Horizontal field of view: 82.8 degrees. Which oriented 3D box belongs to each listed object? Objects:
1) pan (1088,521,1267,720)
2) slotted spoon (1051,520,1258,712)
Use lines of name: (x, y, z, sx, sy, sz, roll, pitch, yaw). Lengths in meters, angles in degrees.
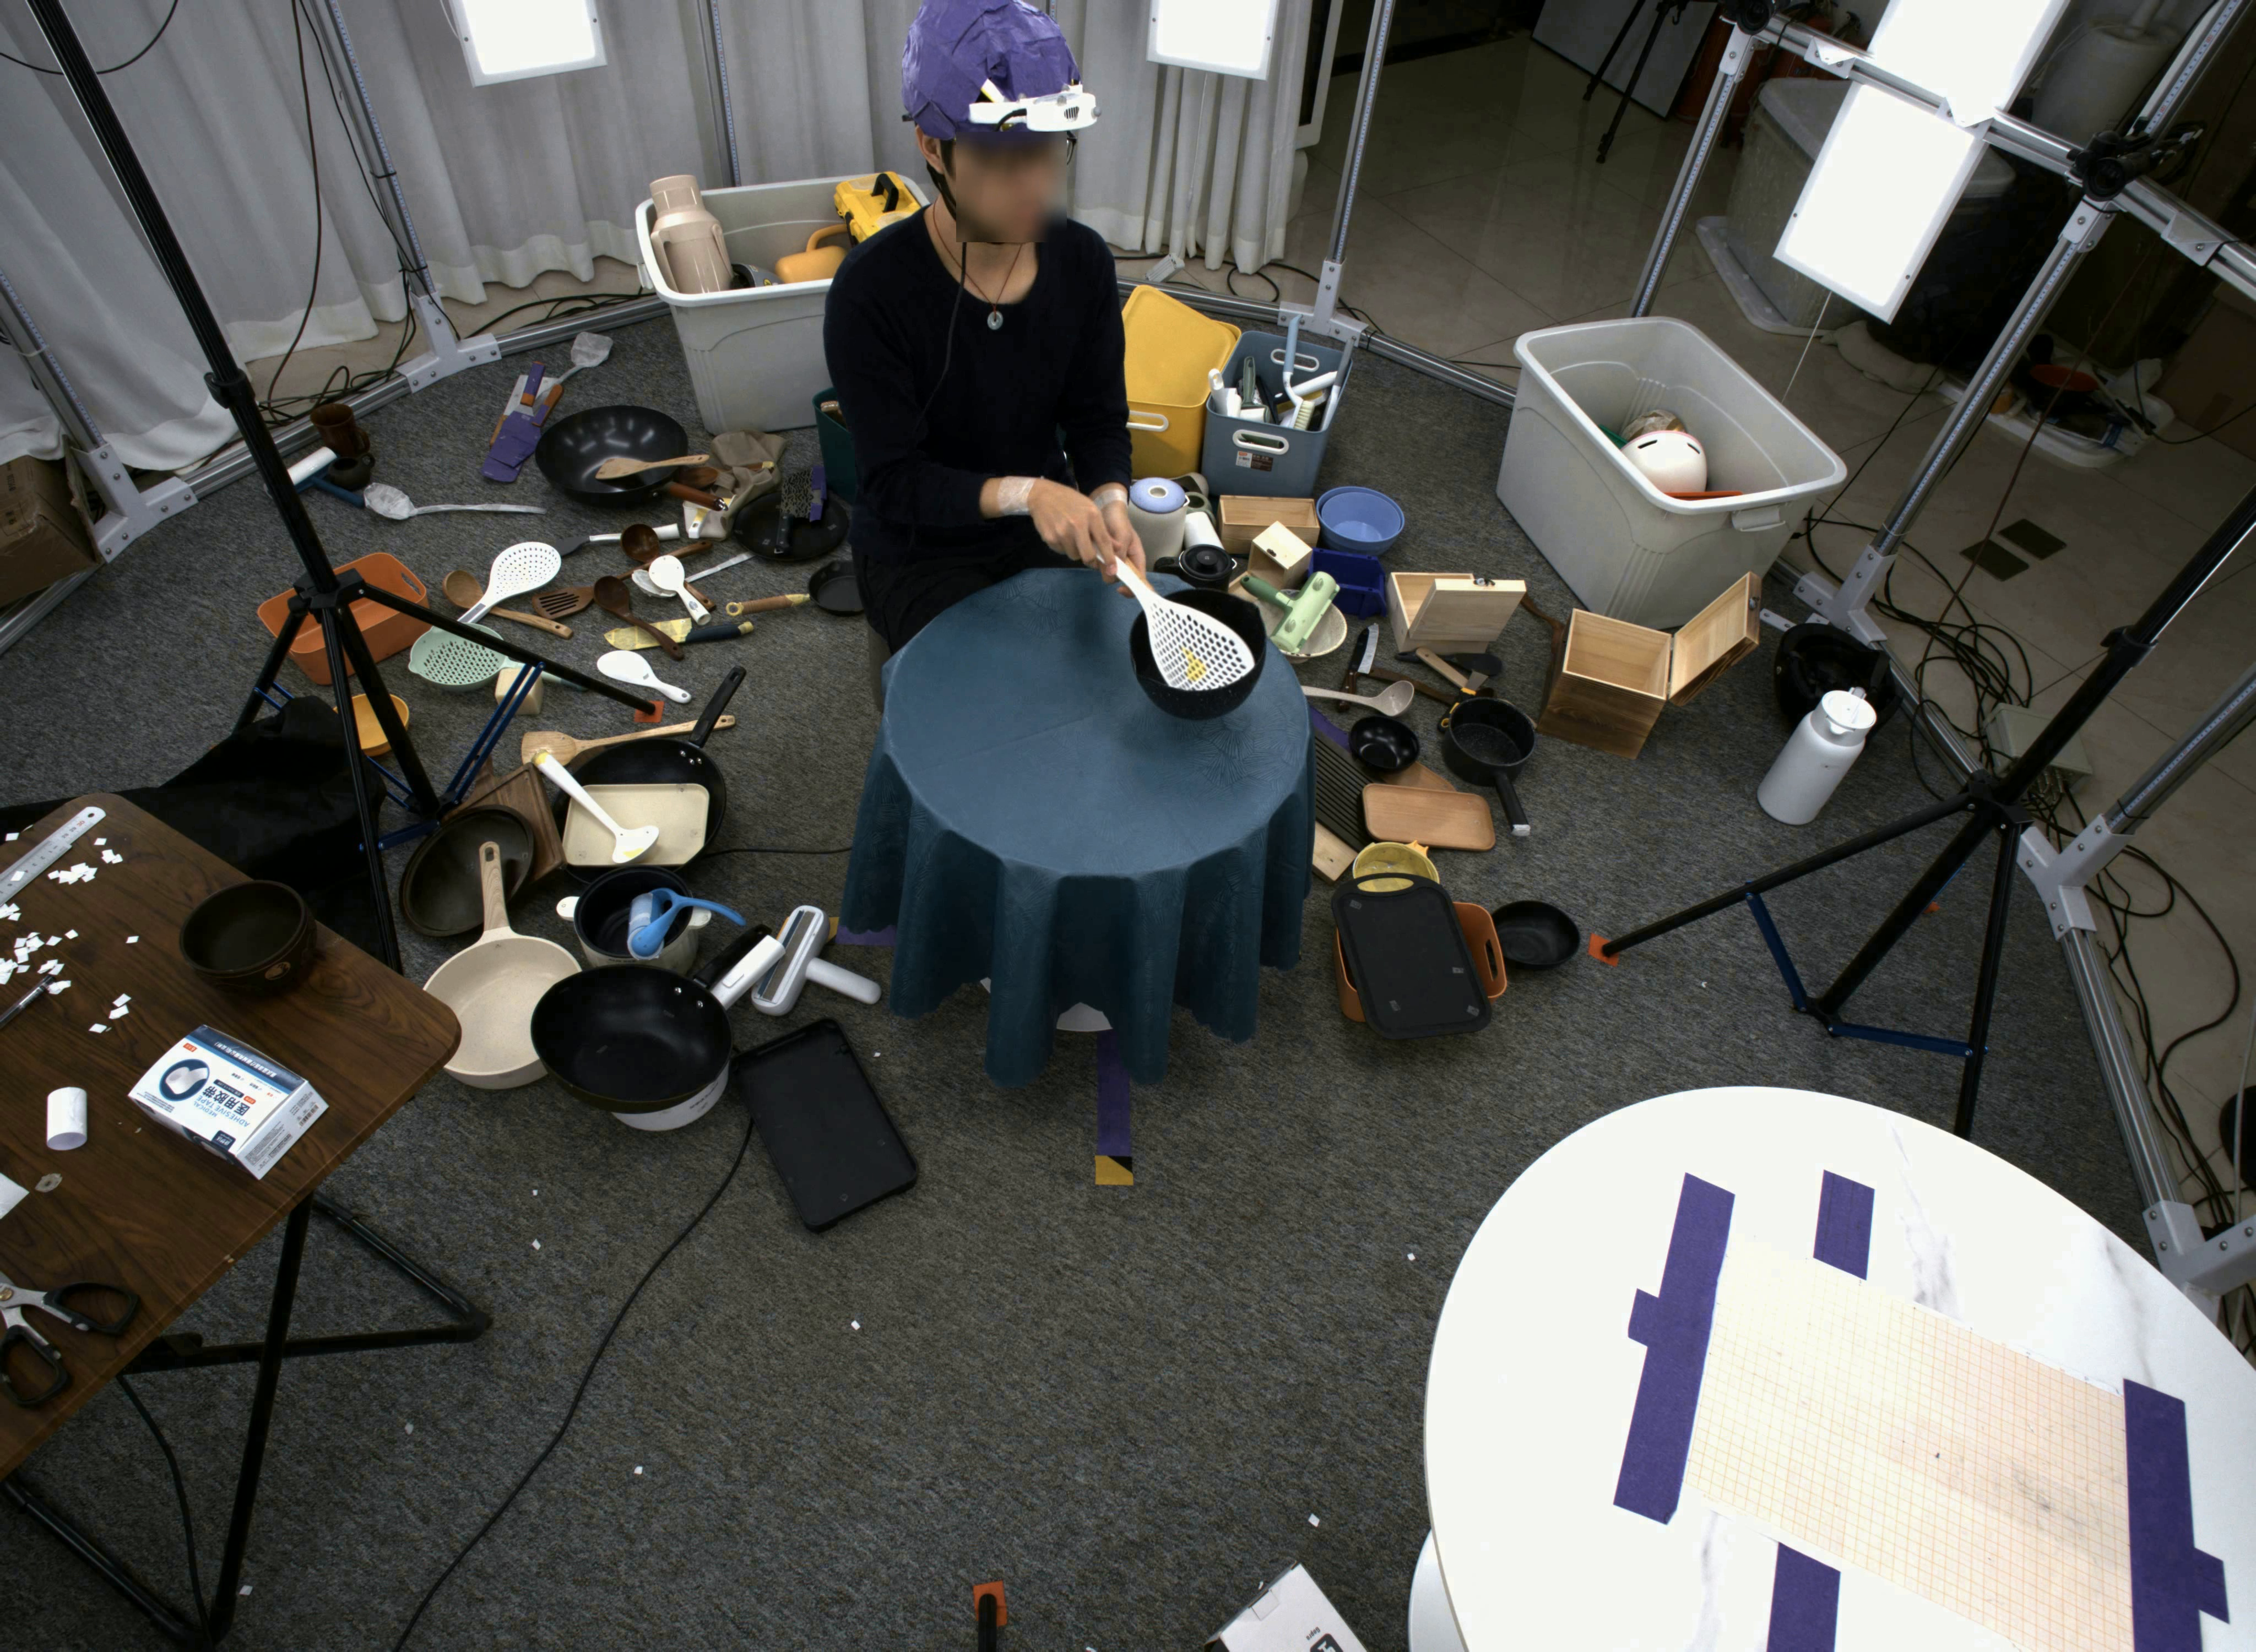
pan: (0.049, -0.287, 1.774, 0.208, 0.106, 0.349, -33, 59, -15)
slotted spoon: (0.031, -0.296, 1.741, 0.347, 0.050, 0.138, 47, 66, -3)
